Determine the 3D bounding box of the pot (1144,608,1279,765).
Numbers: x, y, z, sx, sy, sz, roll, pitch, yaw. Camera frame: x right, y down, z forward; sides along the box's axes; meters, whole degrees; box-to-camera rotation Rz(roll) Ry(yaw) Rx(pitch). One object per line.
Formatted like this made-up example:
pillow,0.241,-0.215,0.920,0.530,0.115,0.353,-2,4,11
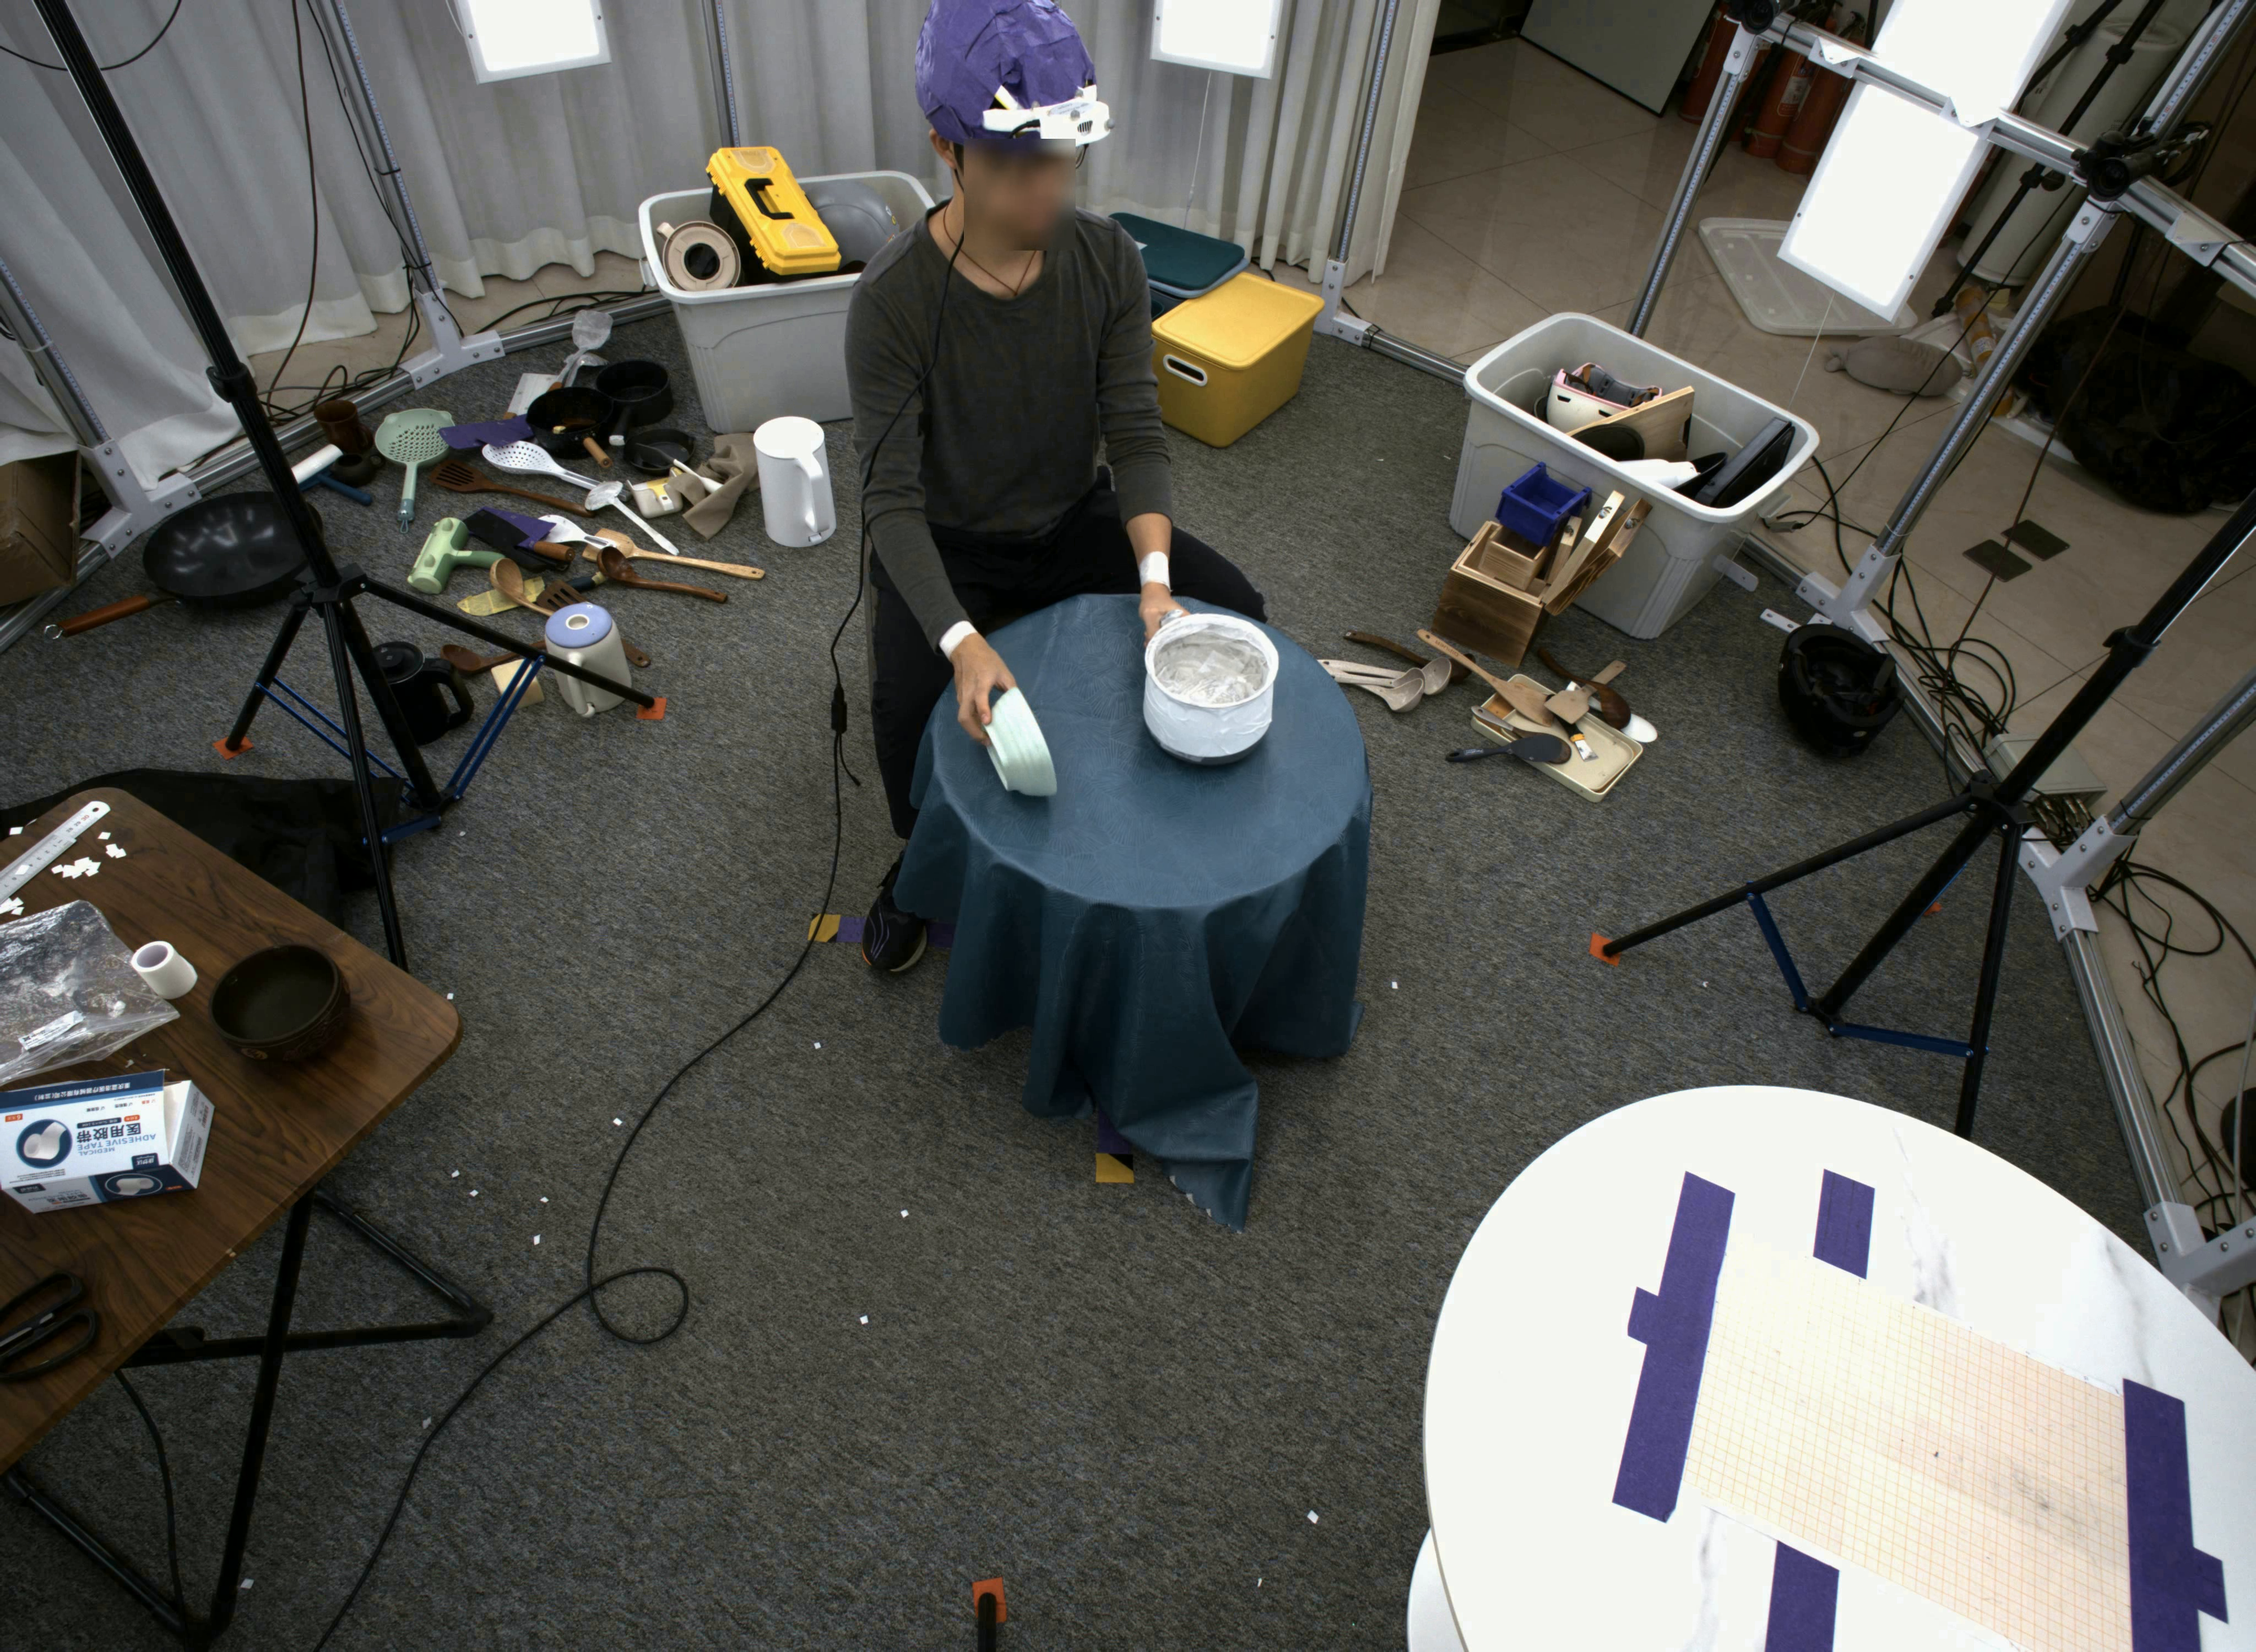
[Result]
pot,0.098,-0.201,1.757,0.179,0.133,0.239,-21,54,-17

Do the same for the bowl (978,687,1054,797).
bowl,-0.148,-0.099,1.646,0.058,0.148,0.155,-21,54,-7
